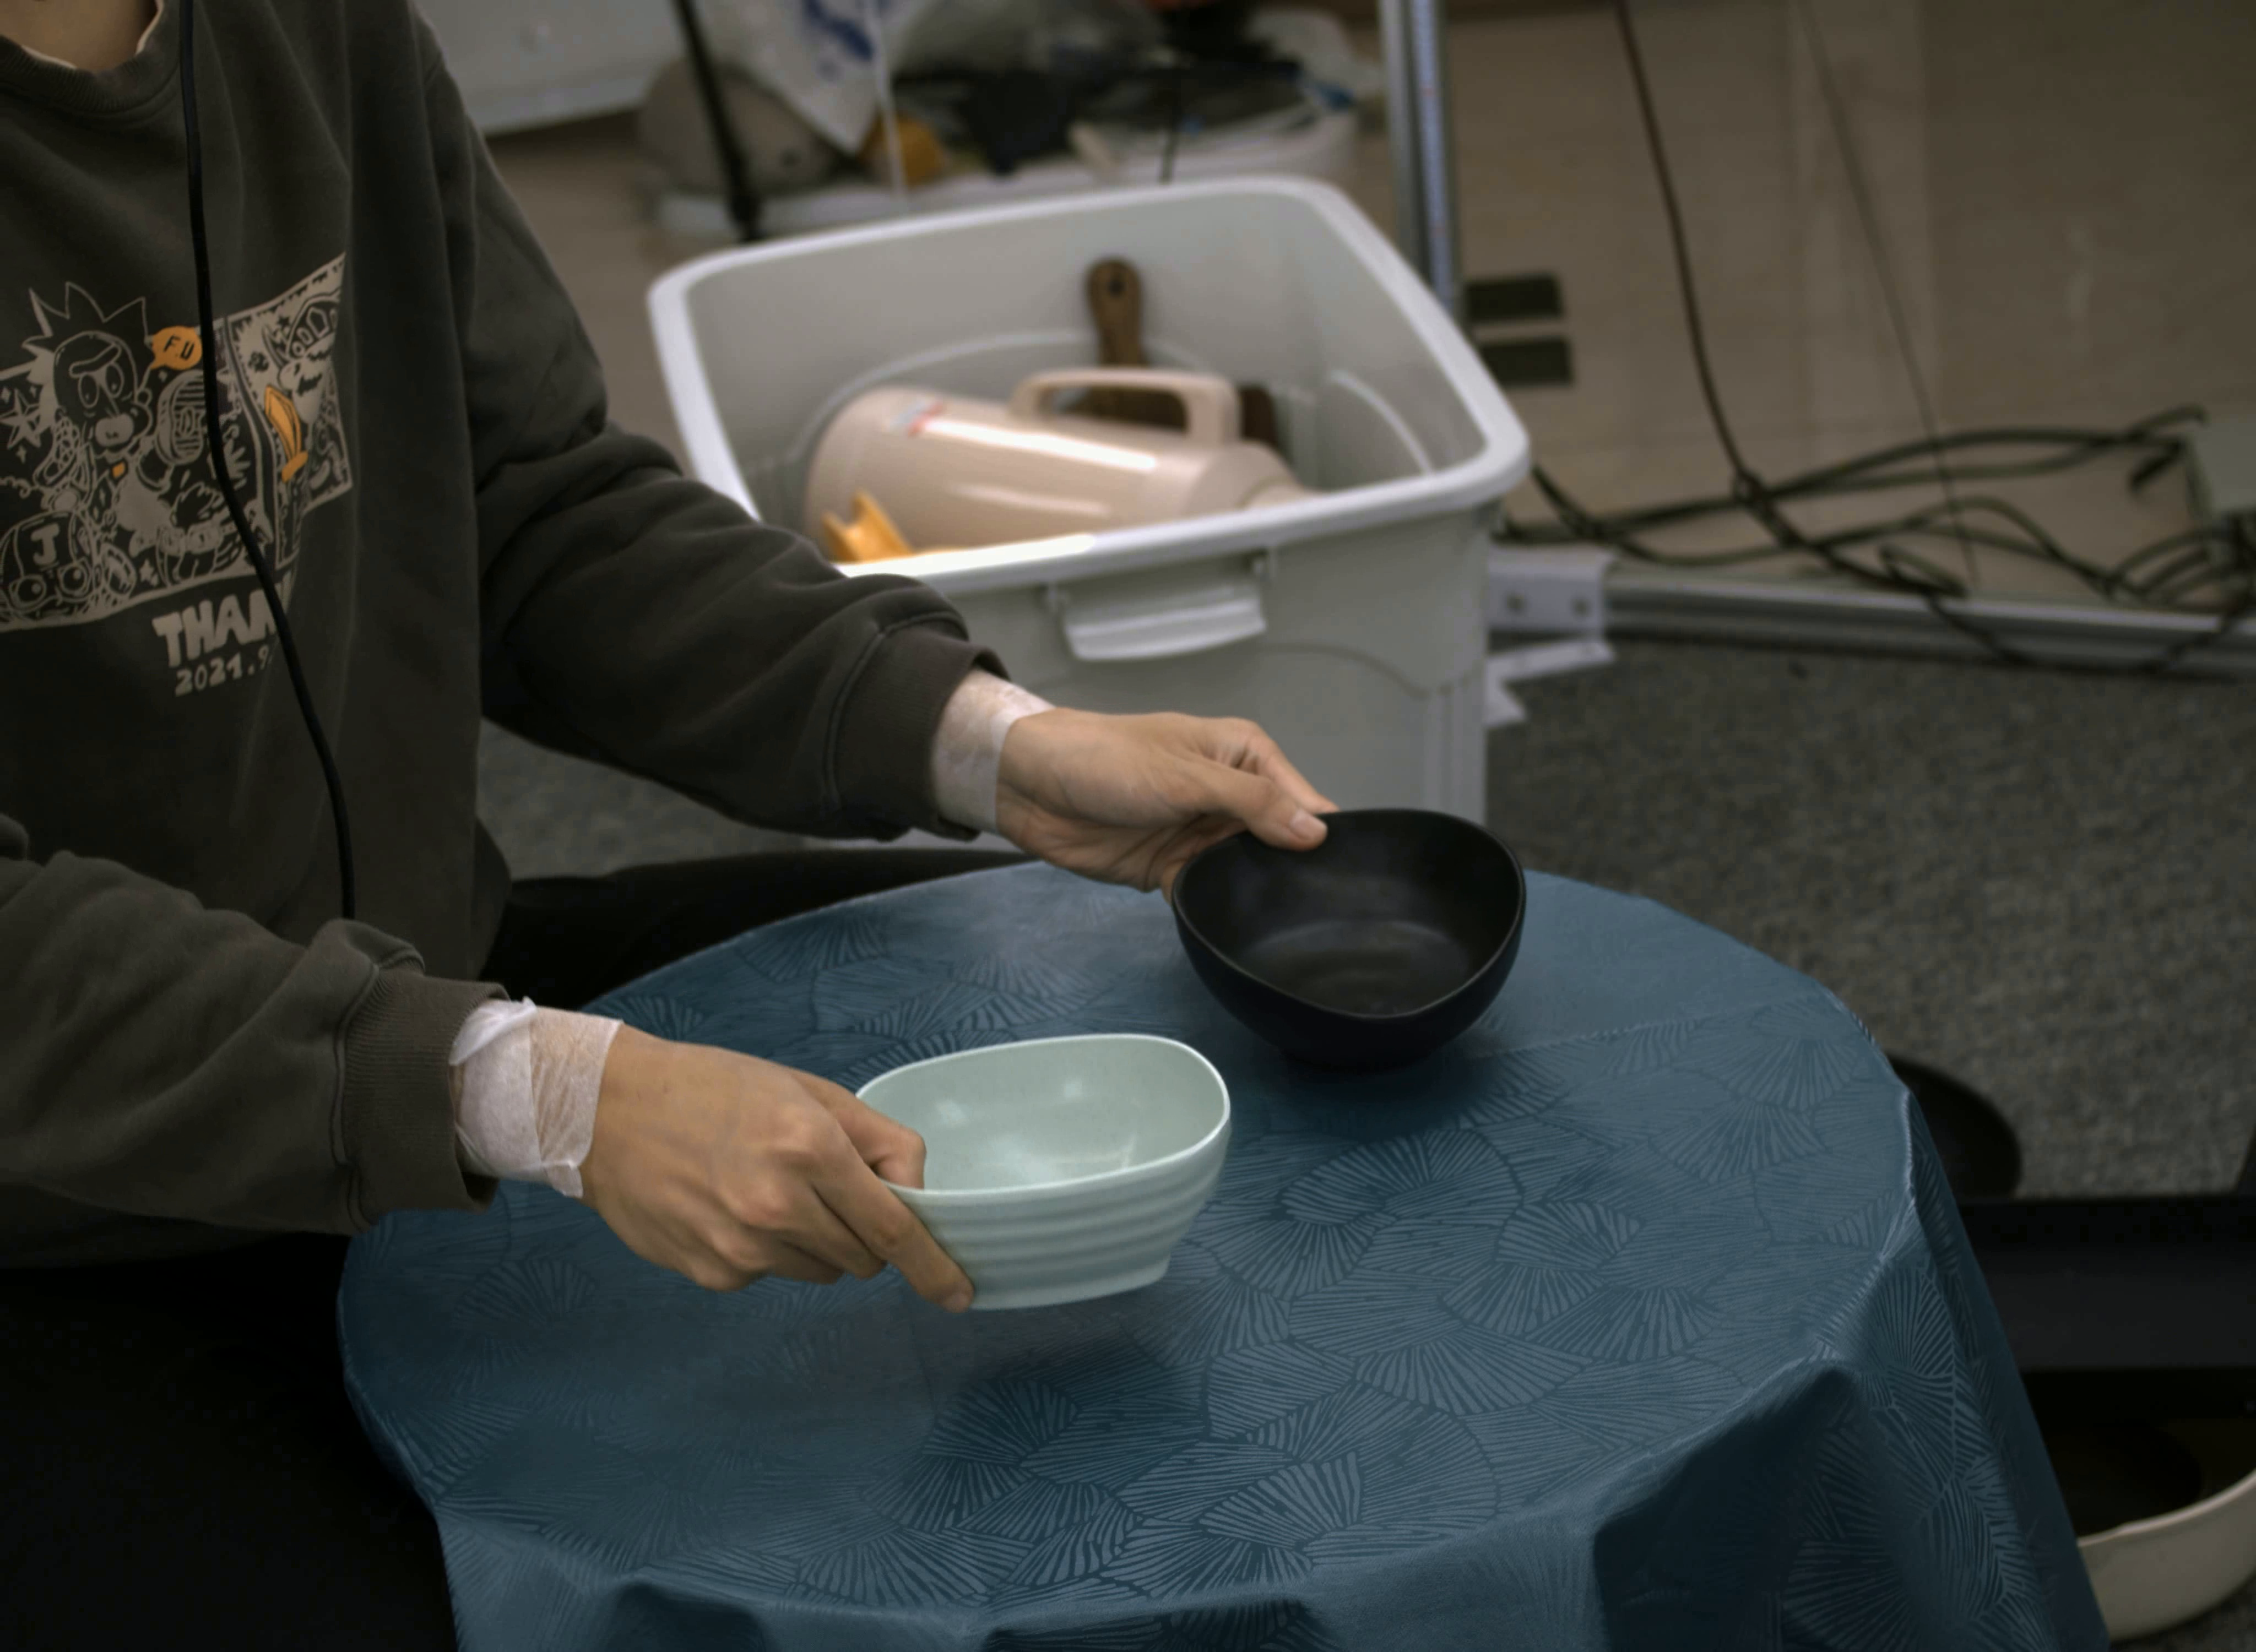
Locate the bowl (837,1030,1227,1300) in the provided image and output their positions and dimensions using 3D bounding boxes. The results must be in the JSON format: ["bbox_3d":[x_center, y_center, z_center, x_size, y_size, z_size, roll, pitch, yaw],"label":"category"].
[{"bbox_3d":[-0.033,0.126,2.034,0.151,0.059,0.149,-3,20,1],"label":"bowl"}]

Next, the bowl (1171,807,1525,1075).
[{"bbox_3d":[0.090,0.053,2.231,0.137,0.068,0.168,-12,28,-10],"label":"bowl"}]
